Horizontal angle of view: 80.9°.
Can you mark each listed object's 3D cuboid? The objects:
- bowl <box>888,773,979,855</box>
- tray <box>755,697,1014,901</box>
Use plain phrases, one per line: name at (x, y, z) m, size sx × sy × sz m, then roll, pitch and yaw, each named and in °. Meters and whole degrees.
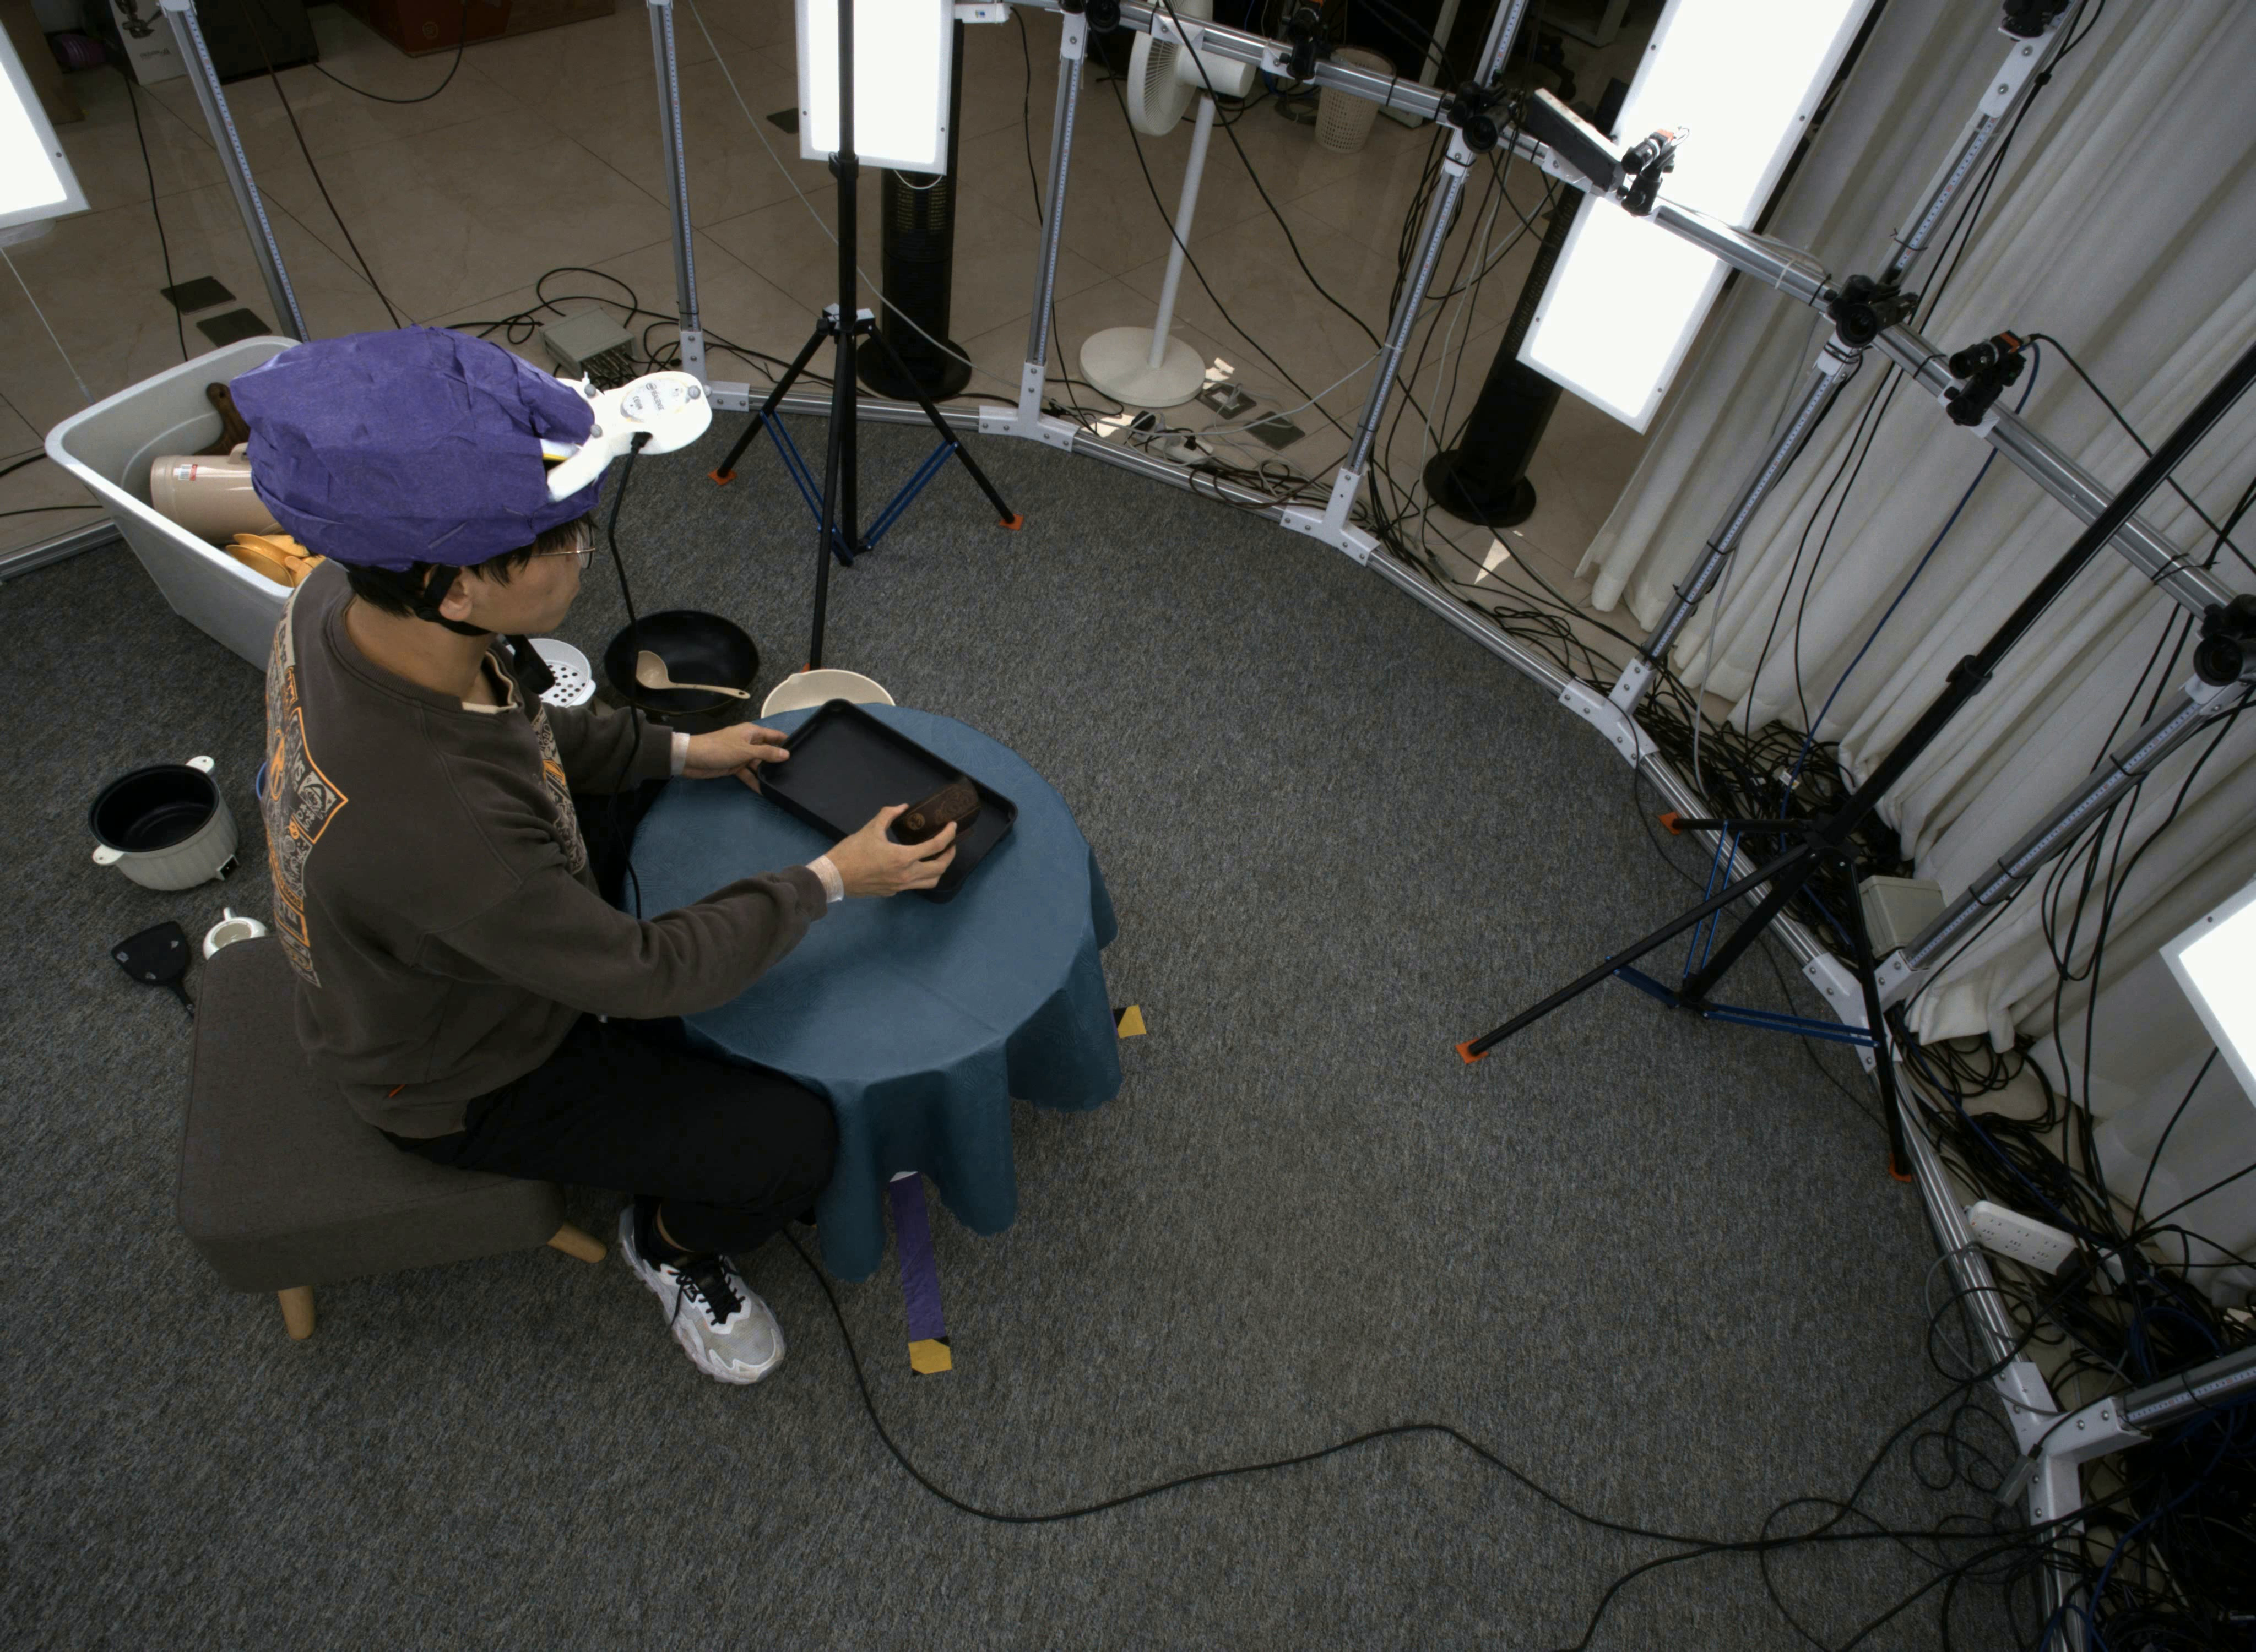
bowl at (-0.241, -0.008, 1.666) m, size 0.118 × 0.116 × 0.071 m, roll -37°, pitch 96°, yaw -32°
tray at (-0.328, -0.040, 1.760) m, size 0.314 × 0.037 × 0.183 m, roll 30°, pitch 54°, yaw 5°
